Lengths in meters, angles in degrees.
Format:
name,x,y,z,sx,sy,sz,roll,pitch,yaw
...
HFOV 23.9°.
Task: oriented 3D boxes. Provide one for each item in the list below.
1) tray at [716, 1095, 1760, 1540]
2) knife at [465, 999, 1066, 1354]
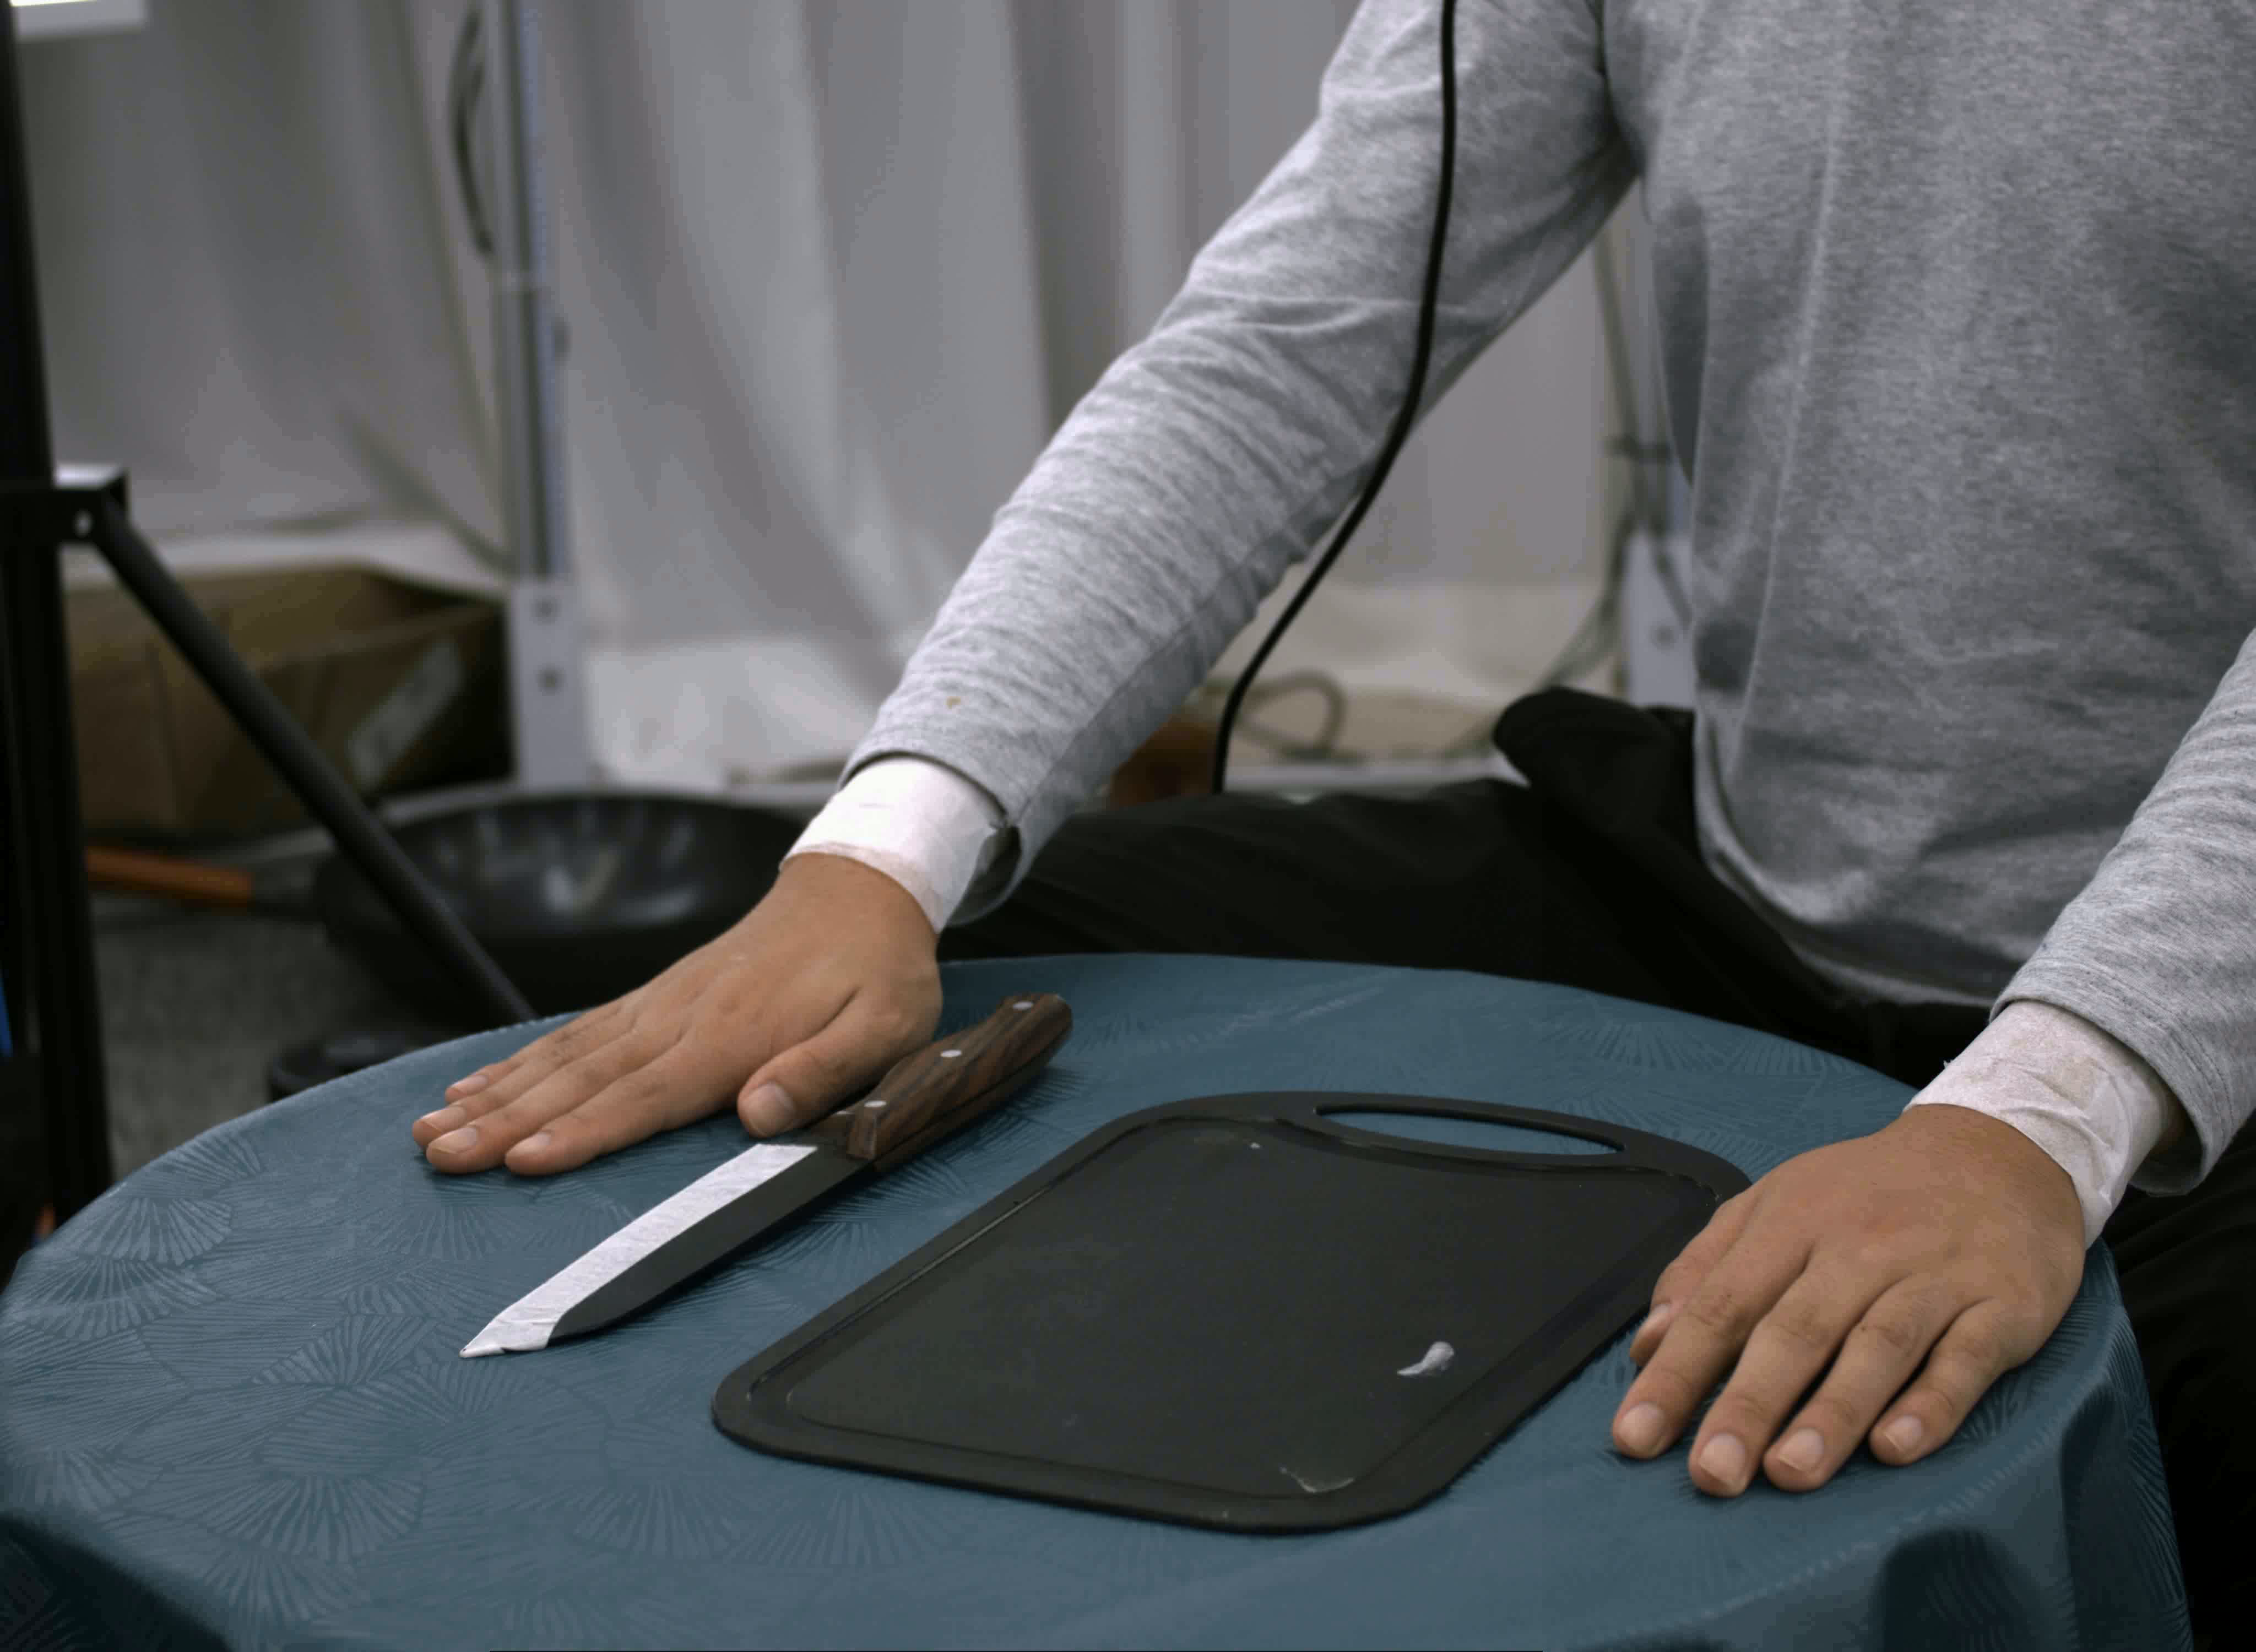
name,x,y,z,sx,sy,sz,roll,pitch,yaw
tray,0.040,0.127,1.479,0.215,0.010,0.320,7,18,28
knife,-0.101,0.104,1.567,0.051,0.020,0.284,2,18,34
